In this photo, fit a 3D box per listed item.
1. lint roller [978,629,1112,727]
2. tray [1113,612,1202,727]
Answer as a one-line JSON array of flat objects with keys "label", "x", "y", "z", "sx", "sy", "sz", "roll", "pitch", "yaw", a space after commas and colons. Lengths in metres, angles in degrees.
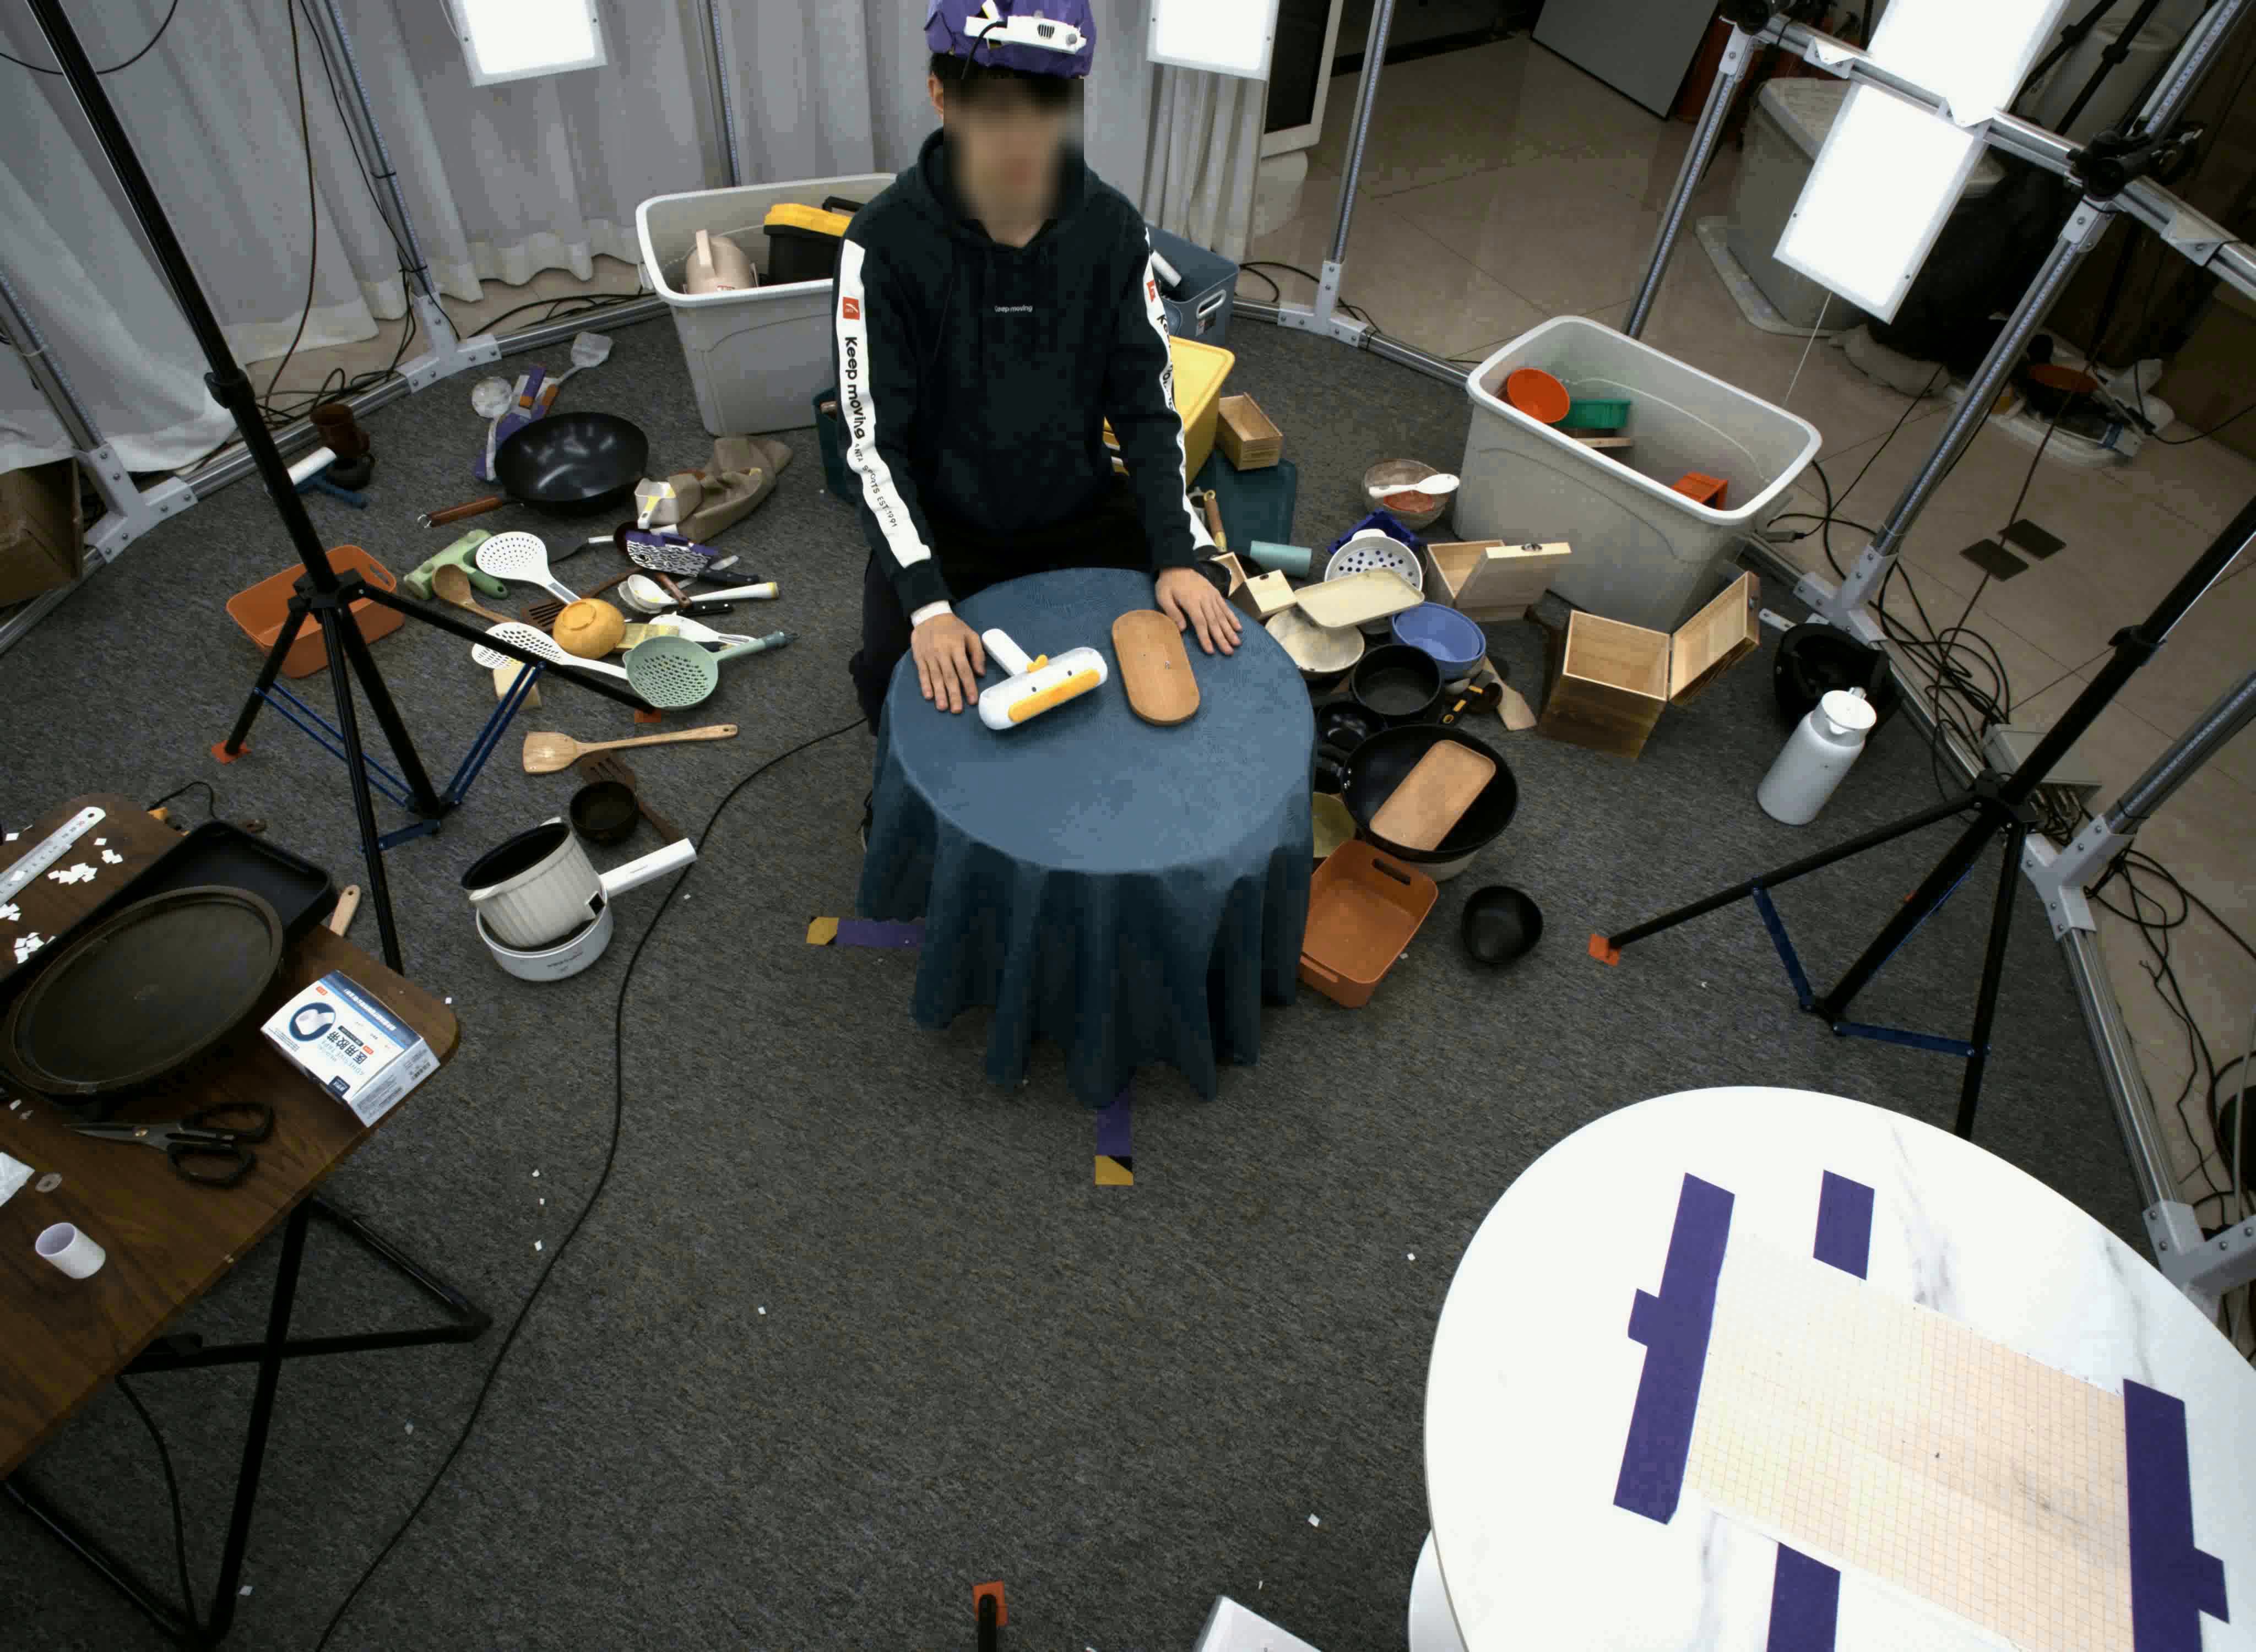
[{"label": "lint roller", "x": -0.146, "y": -0.225, "z": 1.822, "sx": 0.194, "sy": 0.072, "sz": 0.196, "roll": -33, "pitch": 40, "yaw": -21}, {"label": "tray", "x": 0.041, "y": -0.229, "z": 1.859, "sx": 0.101, "sy": 0.020, "sz": 0.237, "roll": -7, "pitch": 51, "yaw": -9}]
